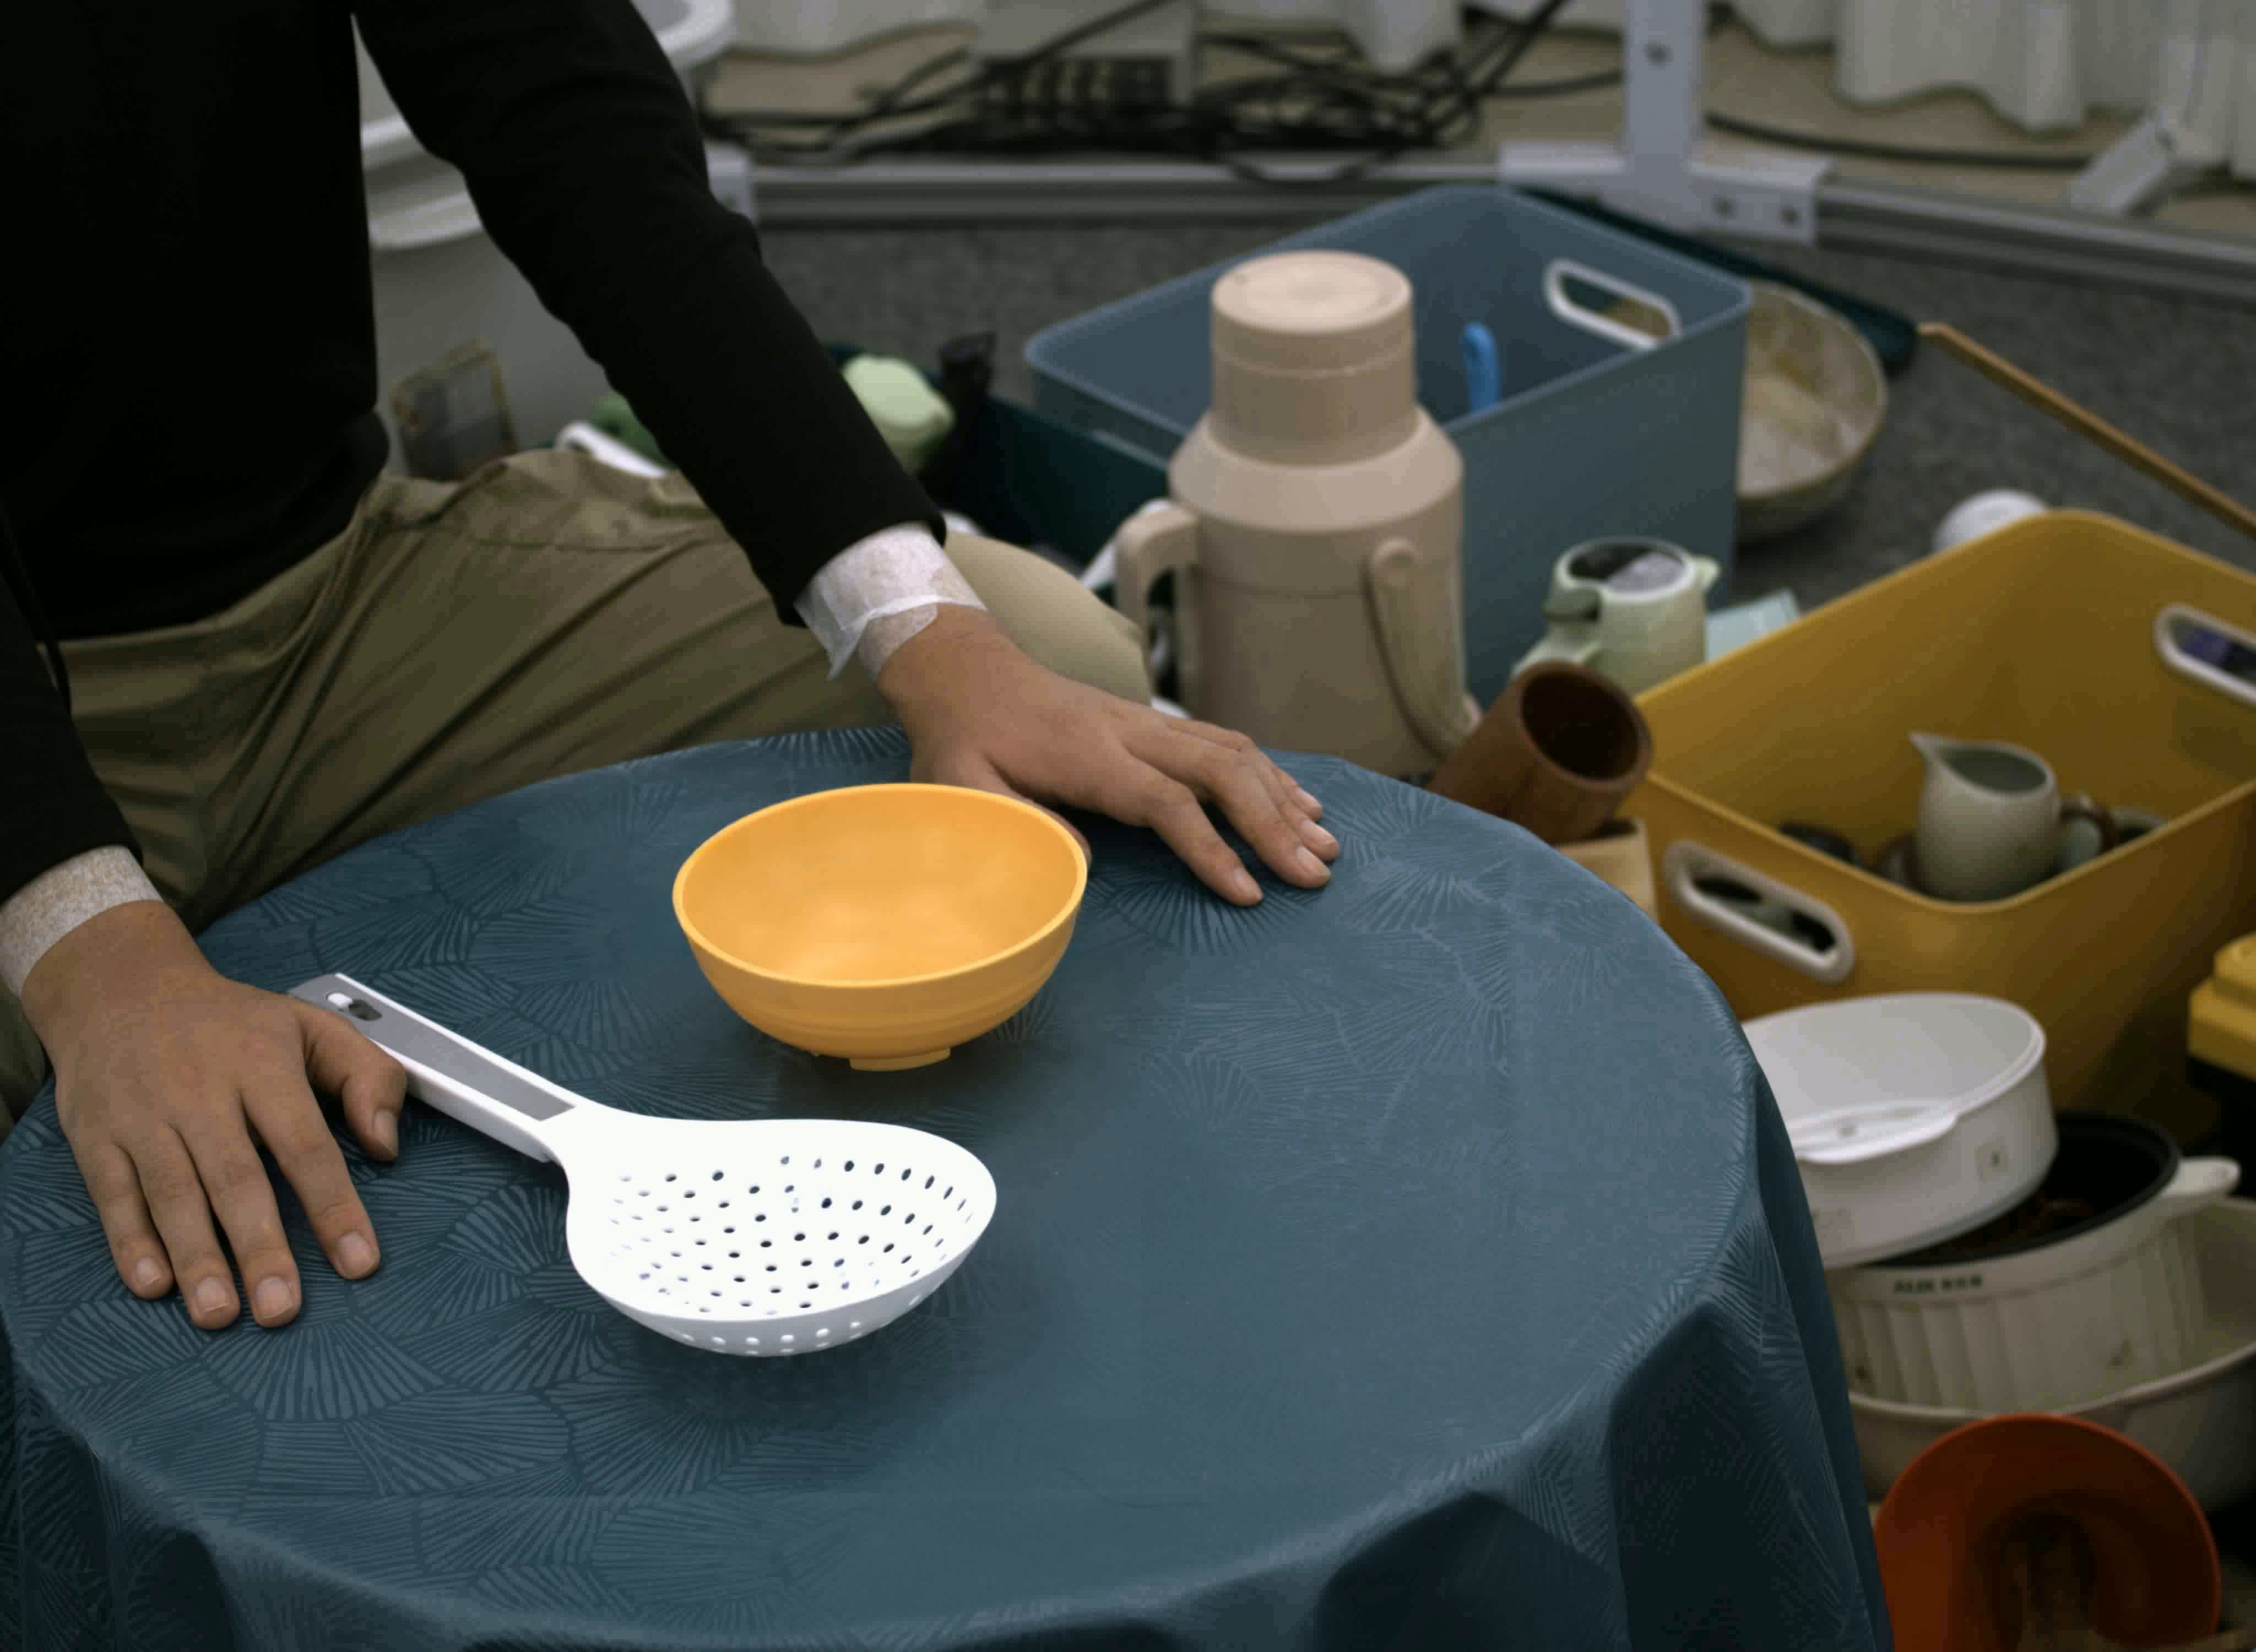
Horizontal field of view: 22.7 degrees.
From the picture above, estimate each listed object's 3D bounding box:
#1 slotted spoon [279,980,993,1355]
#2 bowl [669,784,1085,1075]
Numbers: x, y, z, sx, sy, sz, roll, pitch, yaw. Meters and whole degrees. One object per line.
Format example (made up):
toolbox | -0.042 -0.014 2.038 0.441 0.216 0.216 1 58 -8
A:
slotted spoon | -0.179 0.105 1.861 0.137 0.045 0.349 -23 32 -35
bowl | -0.086 0.045 1.958 0.144 0.059 0.147 0 28 1
